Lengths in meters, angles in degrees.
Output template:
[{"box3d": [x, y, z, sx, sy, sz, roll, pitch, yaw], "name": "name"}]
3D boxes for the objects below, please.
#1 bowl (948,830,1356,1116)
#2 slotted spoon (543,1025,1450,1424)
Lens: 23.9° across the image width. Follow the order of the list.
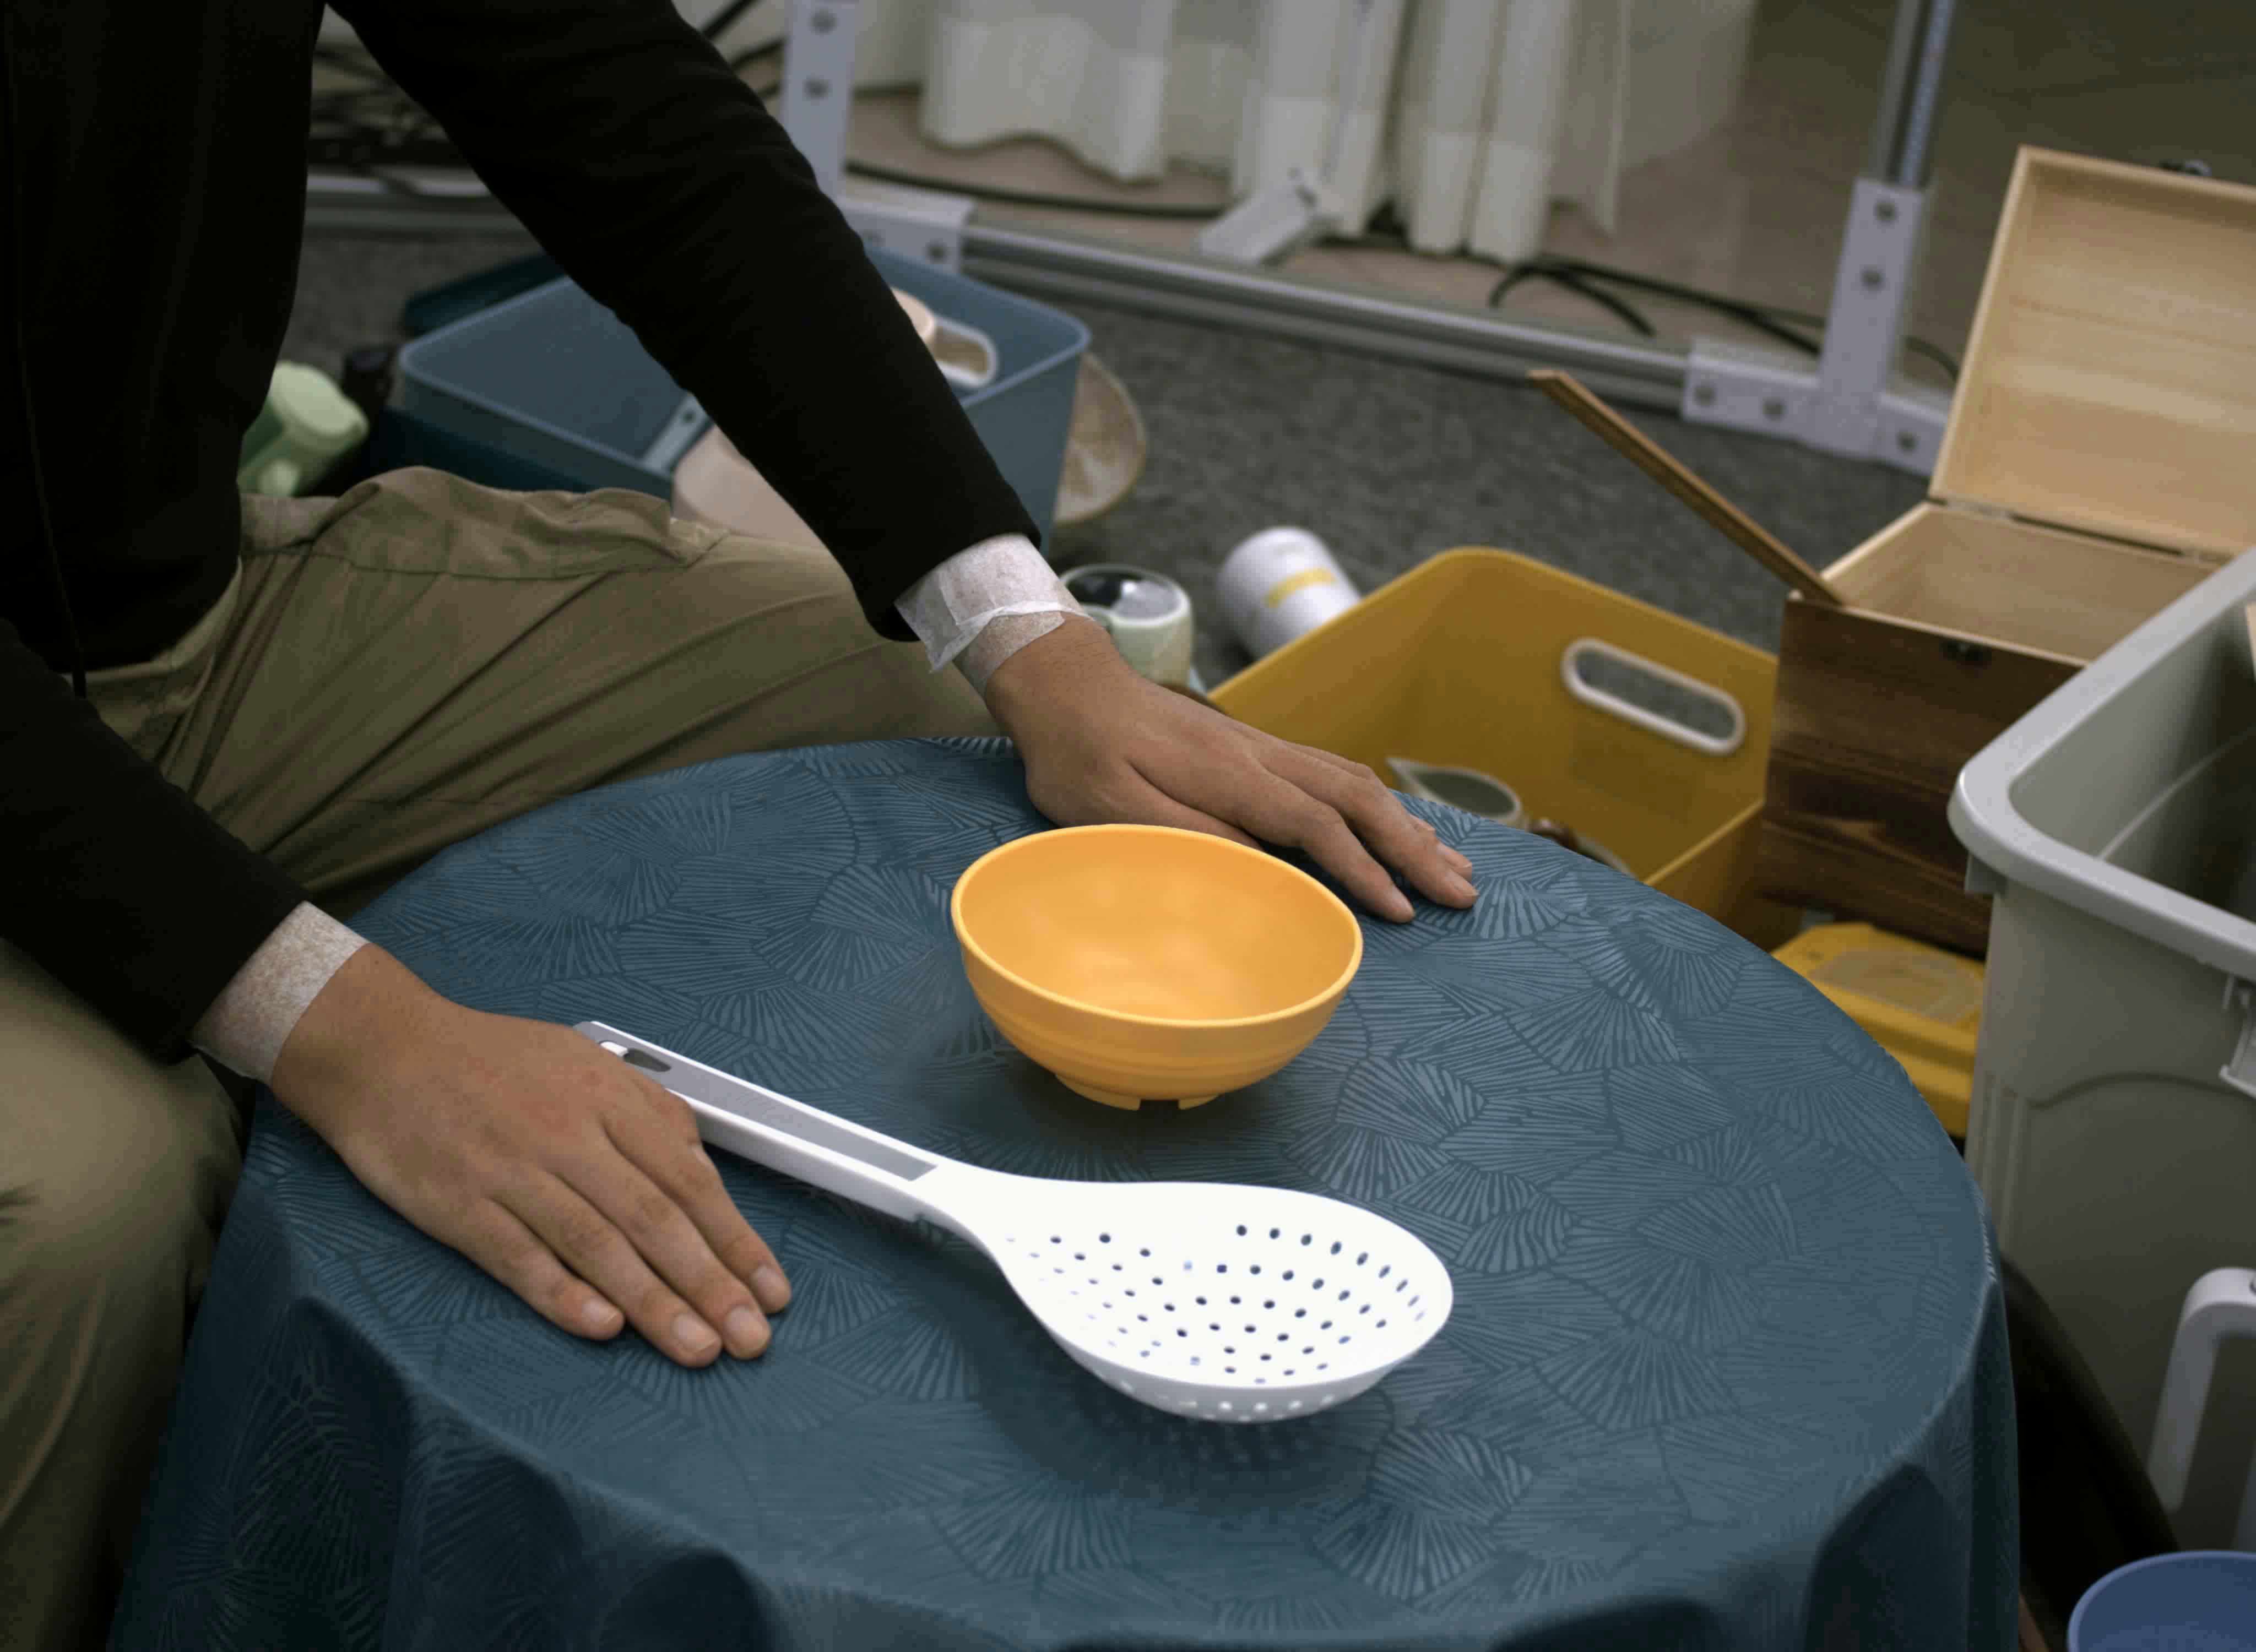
[{"box3d": [0.005, 0.060, 1.867, 0.145, 0.060, 0.146, 7, 26, -4], "name": "bowl"}, {"box3d": [-0.054, 0.123, 1.740, 0.352, 0.045, 0.135, 22, 30, 30], "name": "slotted spoon"}]
